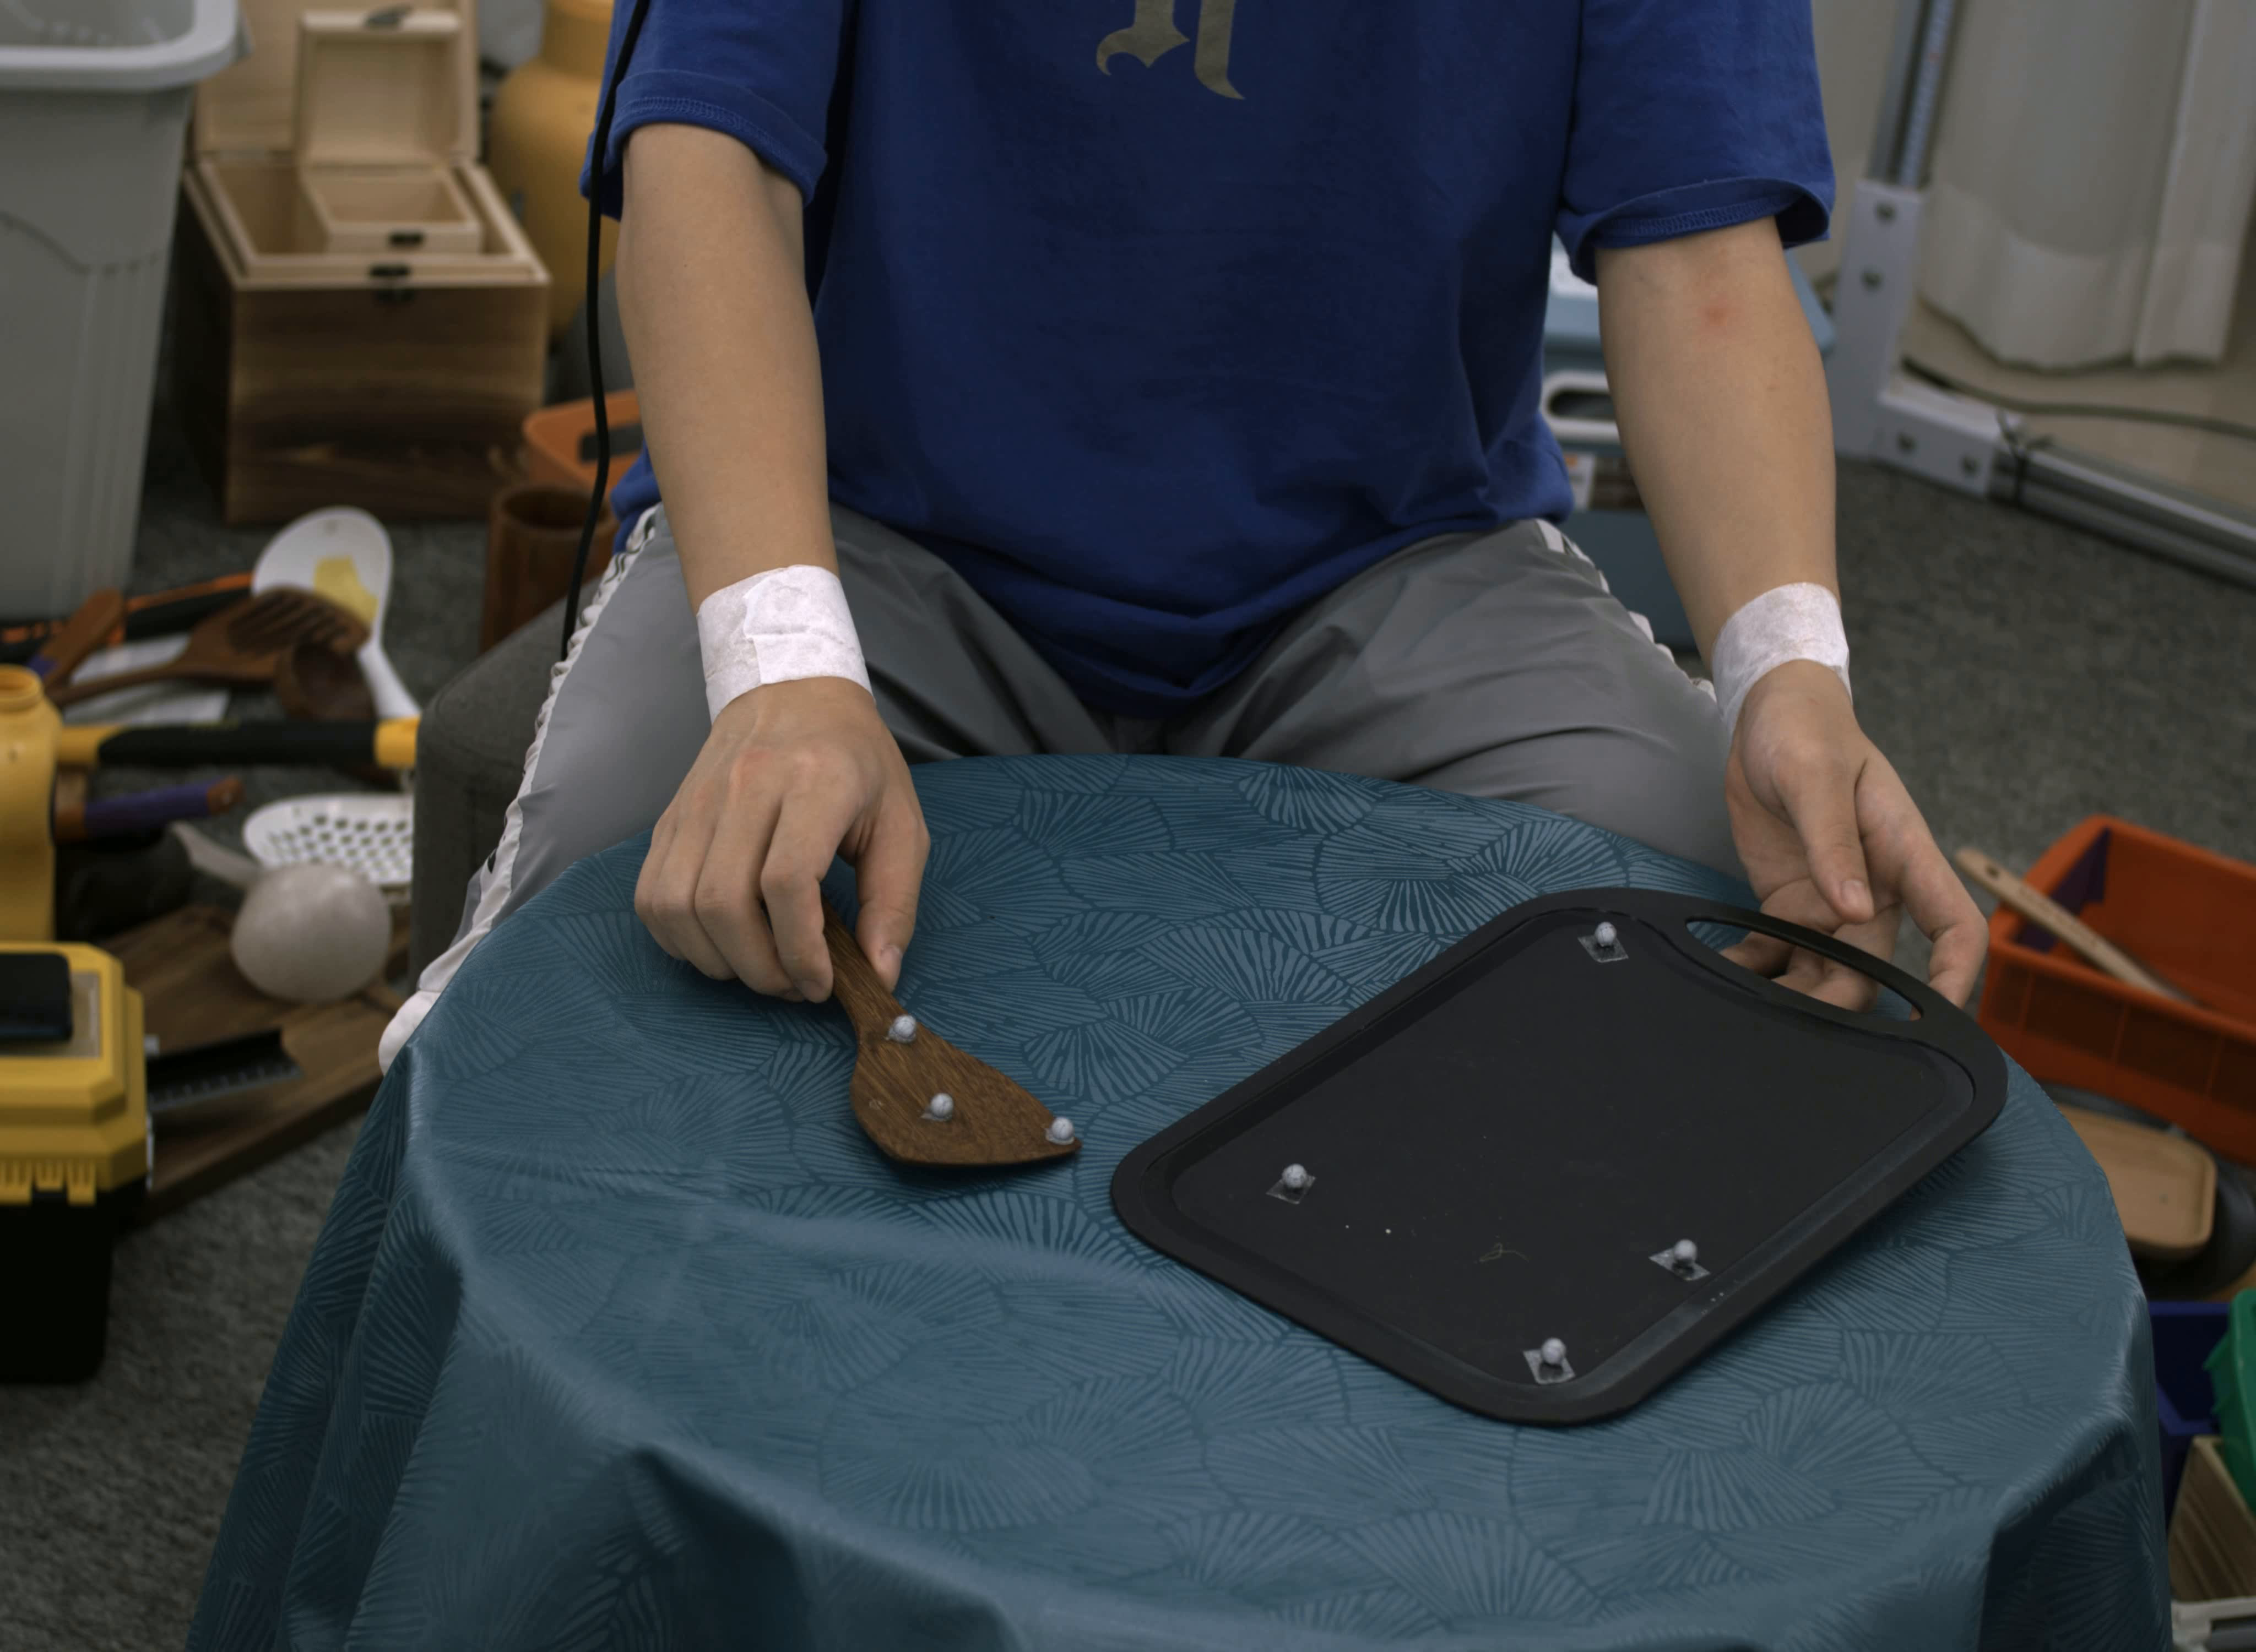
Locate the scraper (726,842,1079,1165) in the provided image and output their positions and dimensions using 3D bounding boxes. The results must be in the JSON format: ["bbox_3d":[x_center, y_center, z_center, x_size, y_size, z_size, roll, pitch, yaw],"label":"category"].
[{"bbox_3d":[-0.091,0.062,1.874,0.075,0.011,0.213,0,31,-31],"label":"scraper"}]

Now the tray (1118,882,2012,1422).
[{"bbox_3d":[0.159,0.101,1.847,0.212,0.010,0.324,25,37,32],"label":"tray"}]
